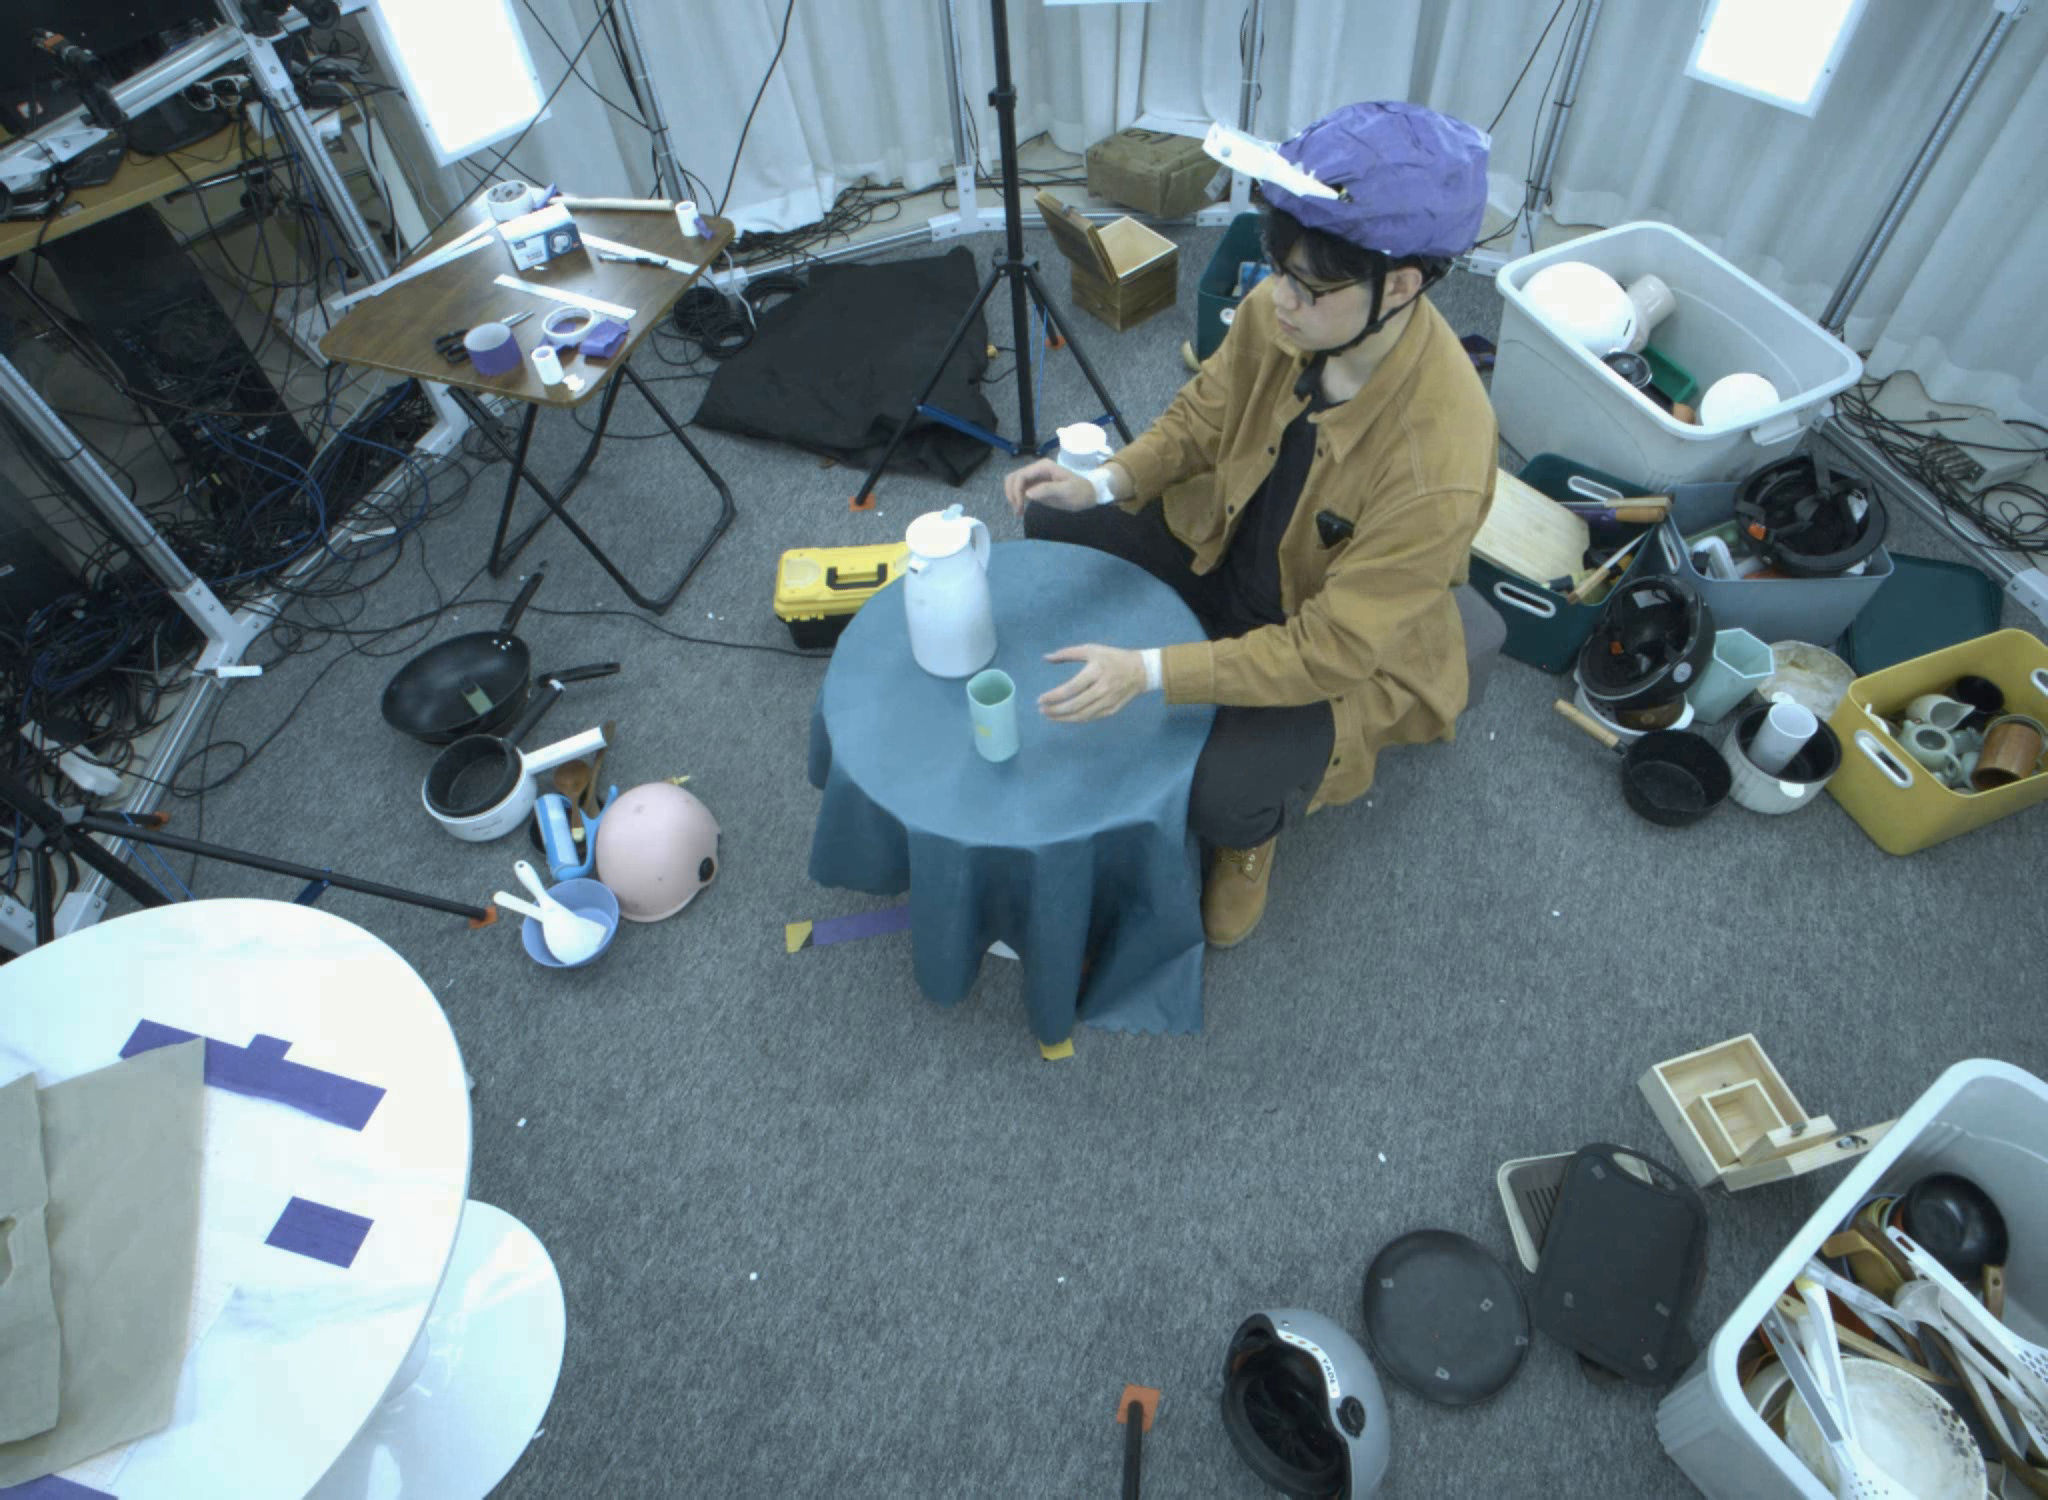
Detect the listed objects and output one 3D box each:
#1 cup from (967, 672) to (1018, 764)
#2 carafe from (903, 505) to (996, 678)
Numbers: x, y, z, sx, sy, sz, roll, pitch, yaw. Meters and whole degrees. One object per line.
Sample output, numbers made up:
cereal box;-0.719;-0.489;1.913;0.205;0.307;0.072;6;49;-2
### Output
cup;-0.042;-0.044;1.740;0.067;0.134;0.066;-1;54;2
carafe;-0.107;-0.248;1.811;0.130;0.251;0.168;25;59;20
